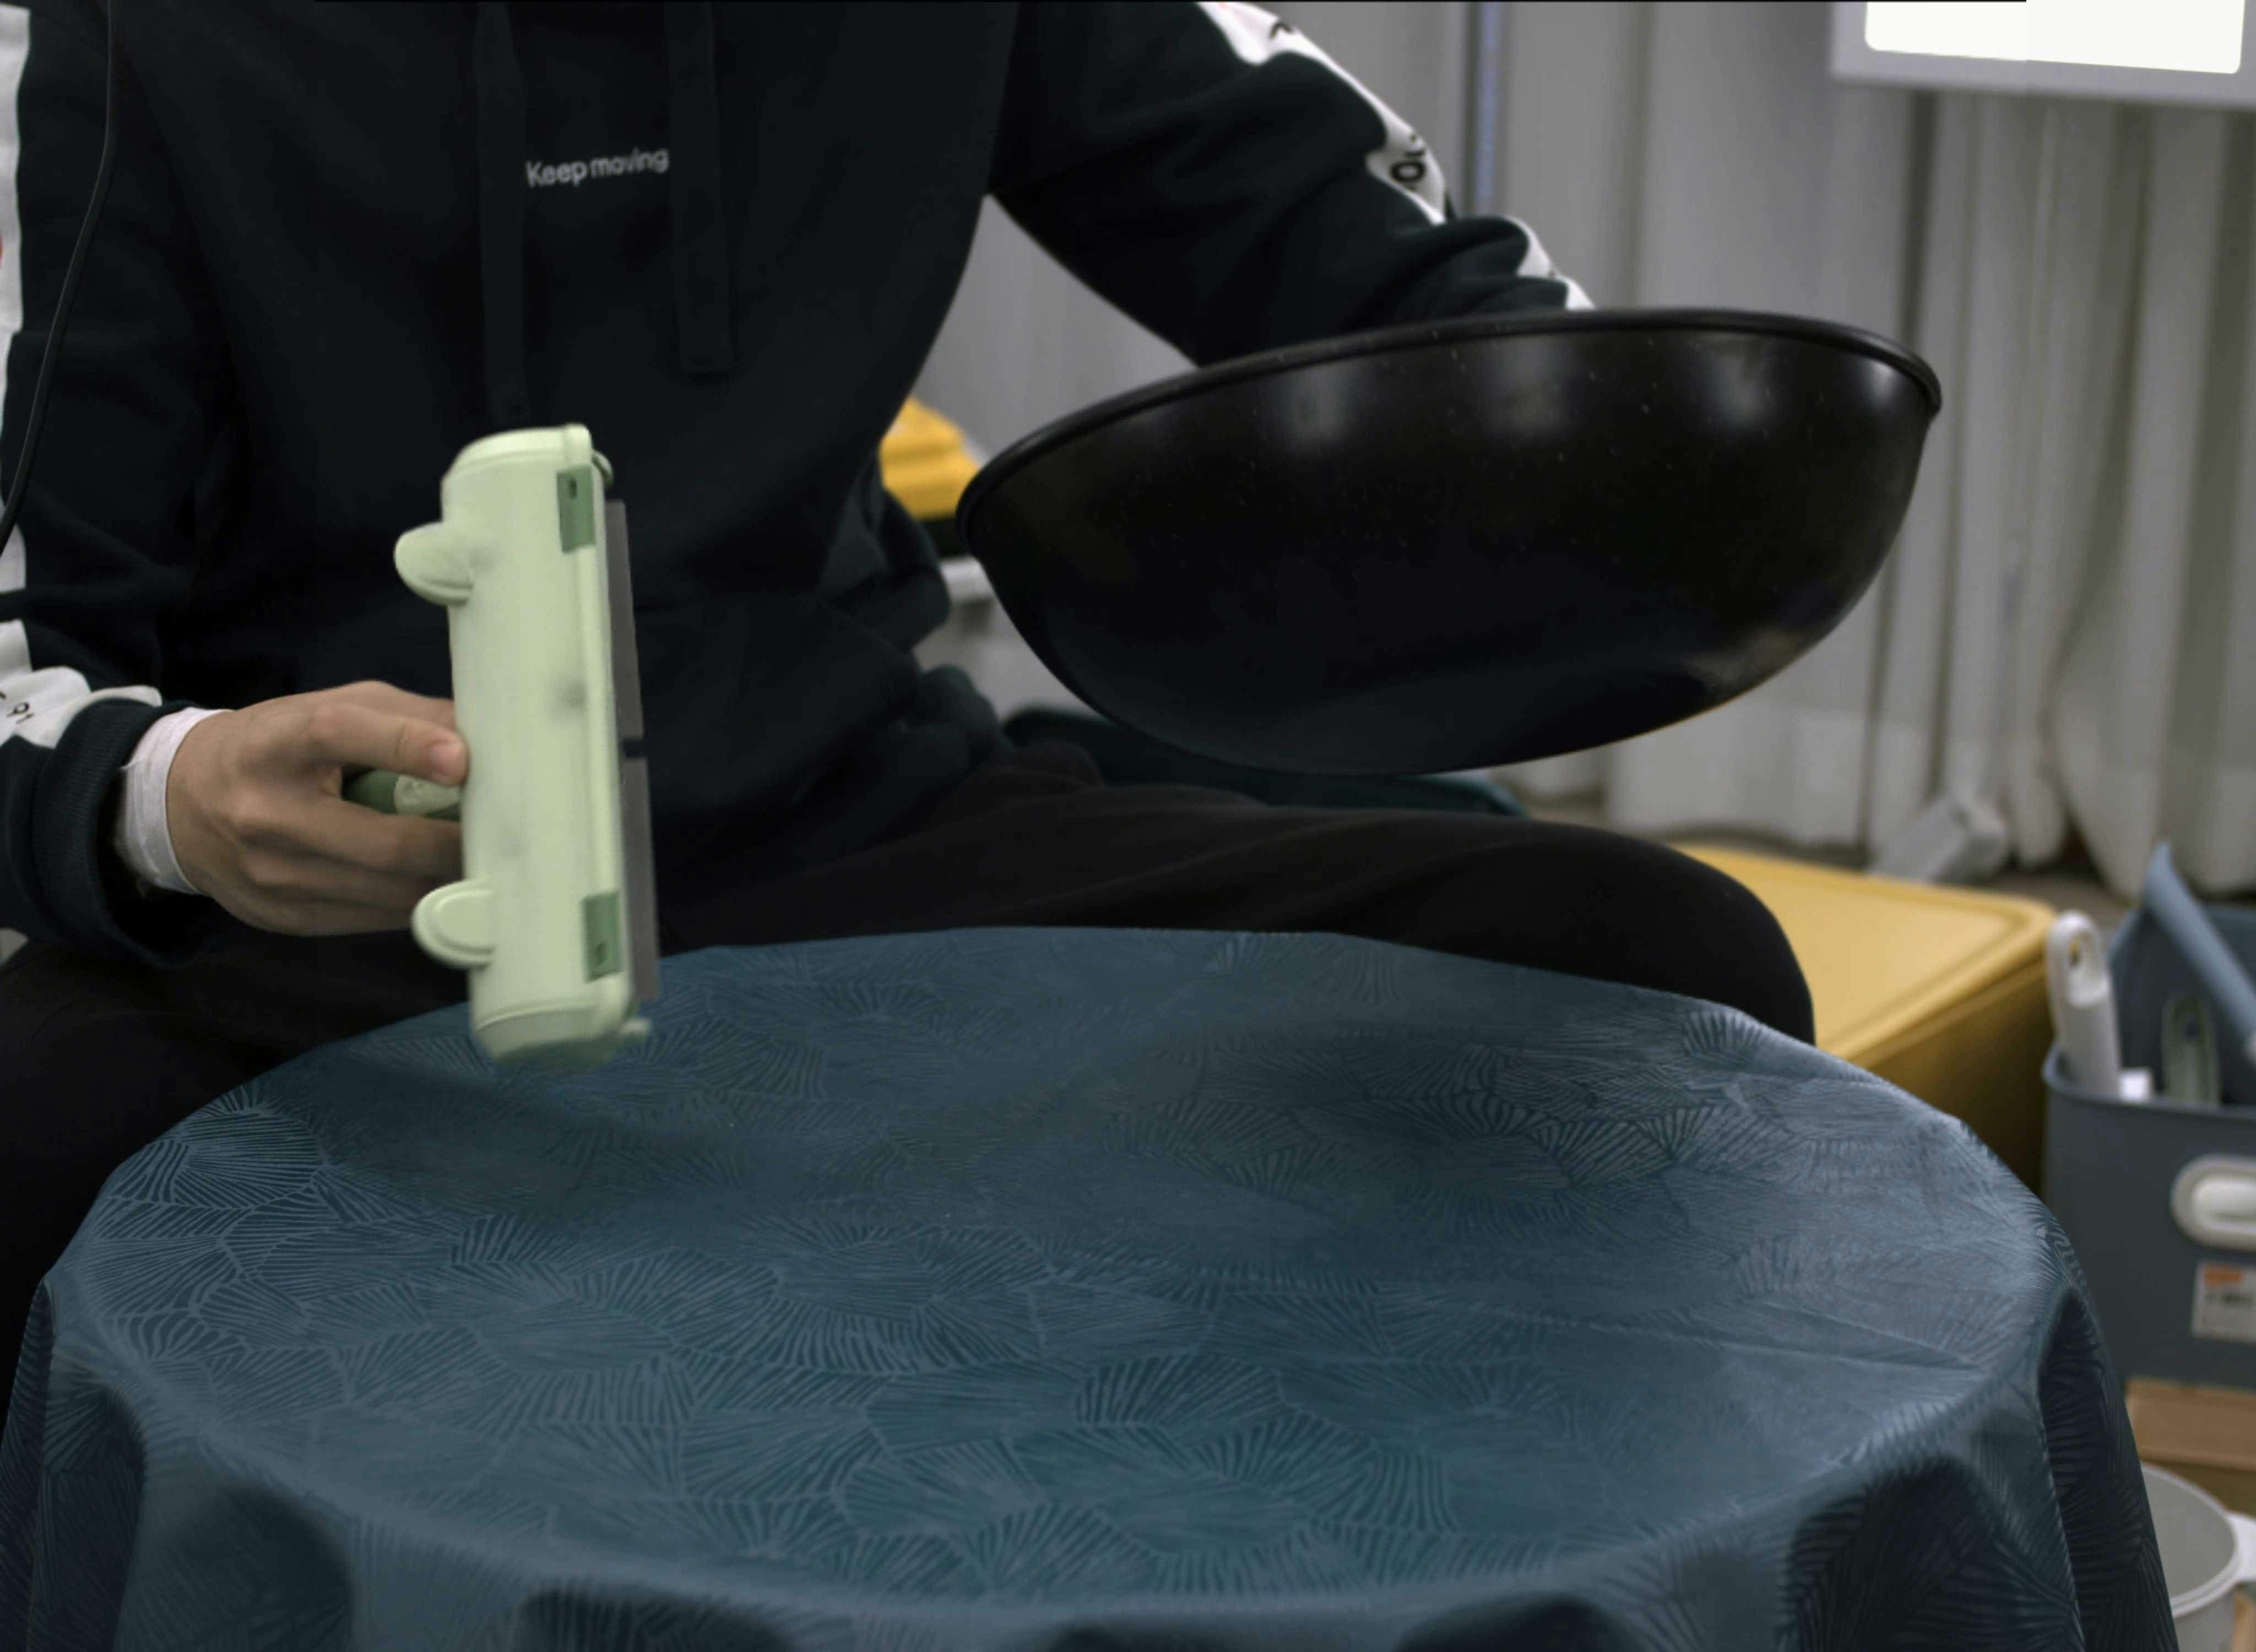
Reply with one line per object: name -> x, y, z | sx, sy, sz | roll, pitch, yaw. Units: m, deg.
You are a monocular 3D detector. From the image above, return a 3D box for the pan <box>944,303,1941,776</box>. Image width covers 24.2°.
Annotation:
pan -> 0.139, -0.075, 1.701 | 0.307, 0.111, 0.481 | -11, -12, 26

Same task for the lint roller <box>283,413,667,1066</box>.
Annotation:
lint roller -> -0.224, -0.013, 1.647 | 0.182, 0.198, 0.083 | -18, -17, 37
